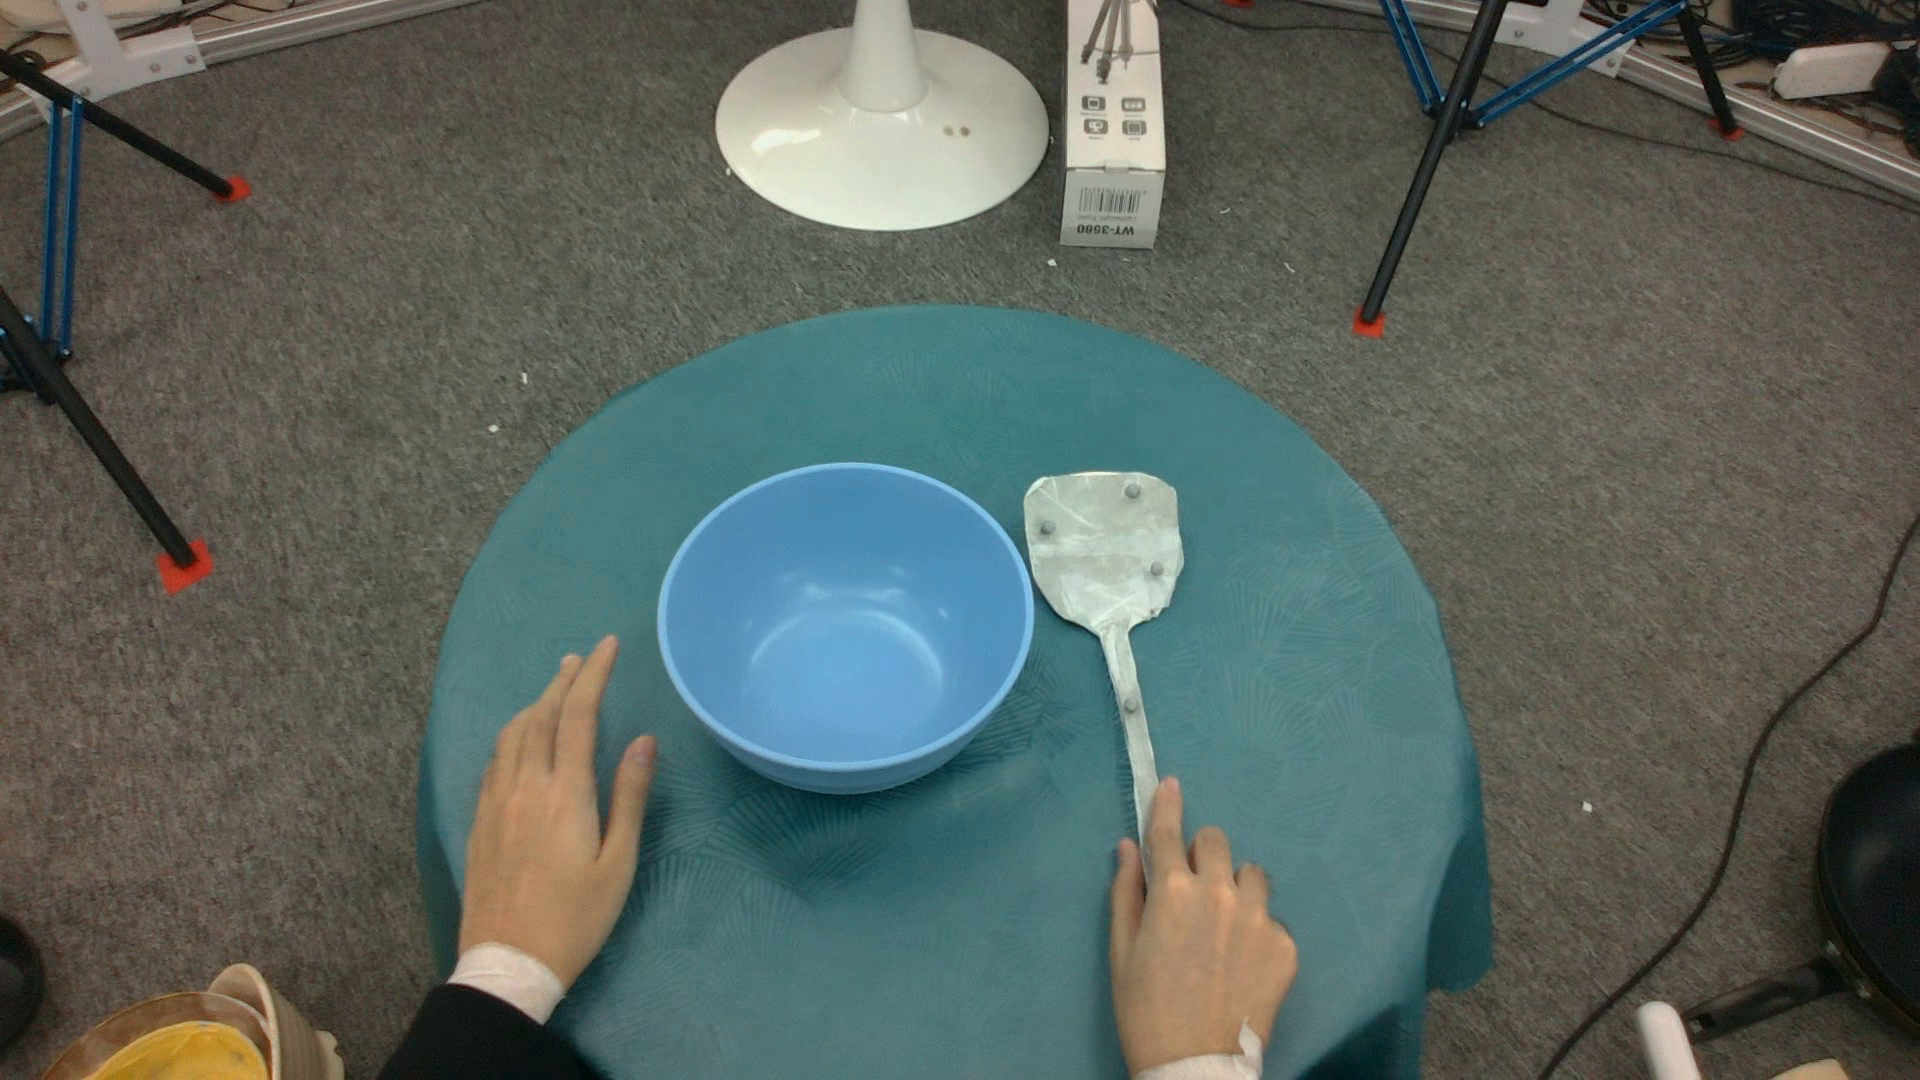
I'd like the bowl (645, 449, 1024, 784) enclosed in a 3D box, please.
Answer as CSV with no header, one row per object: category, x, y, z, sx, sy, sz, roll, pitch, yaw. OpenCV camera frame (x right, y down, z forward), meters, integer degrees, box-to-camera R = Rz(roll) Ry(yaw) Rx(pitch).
bowl,-0.067,0.055,0.752,0.196,0.095,0.197,3,52,-3

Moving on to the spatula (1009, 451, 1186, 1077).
spatula,0.090,0.103,0.761,0.099,0.044,0.366,-1,52,-7
